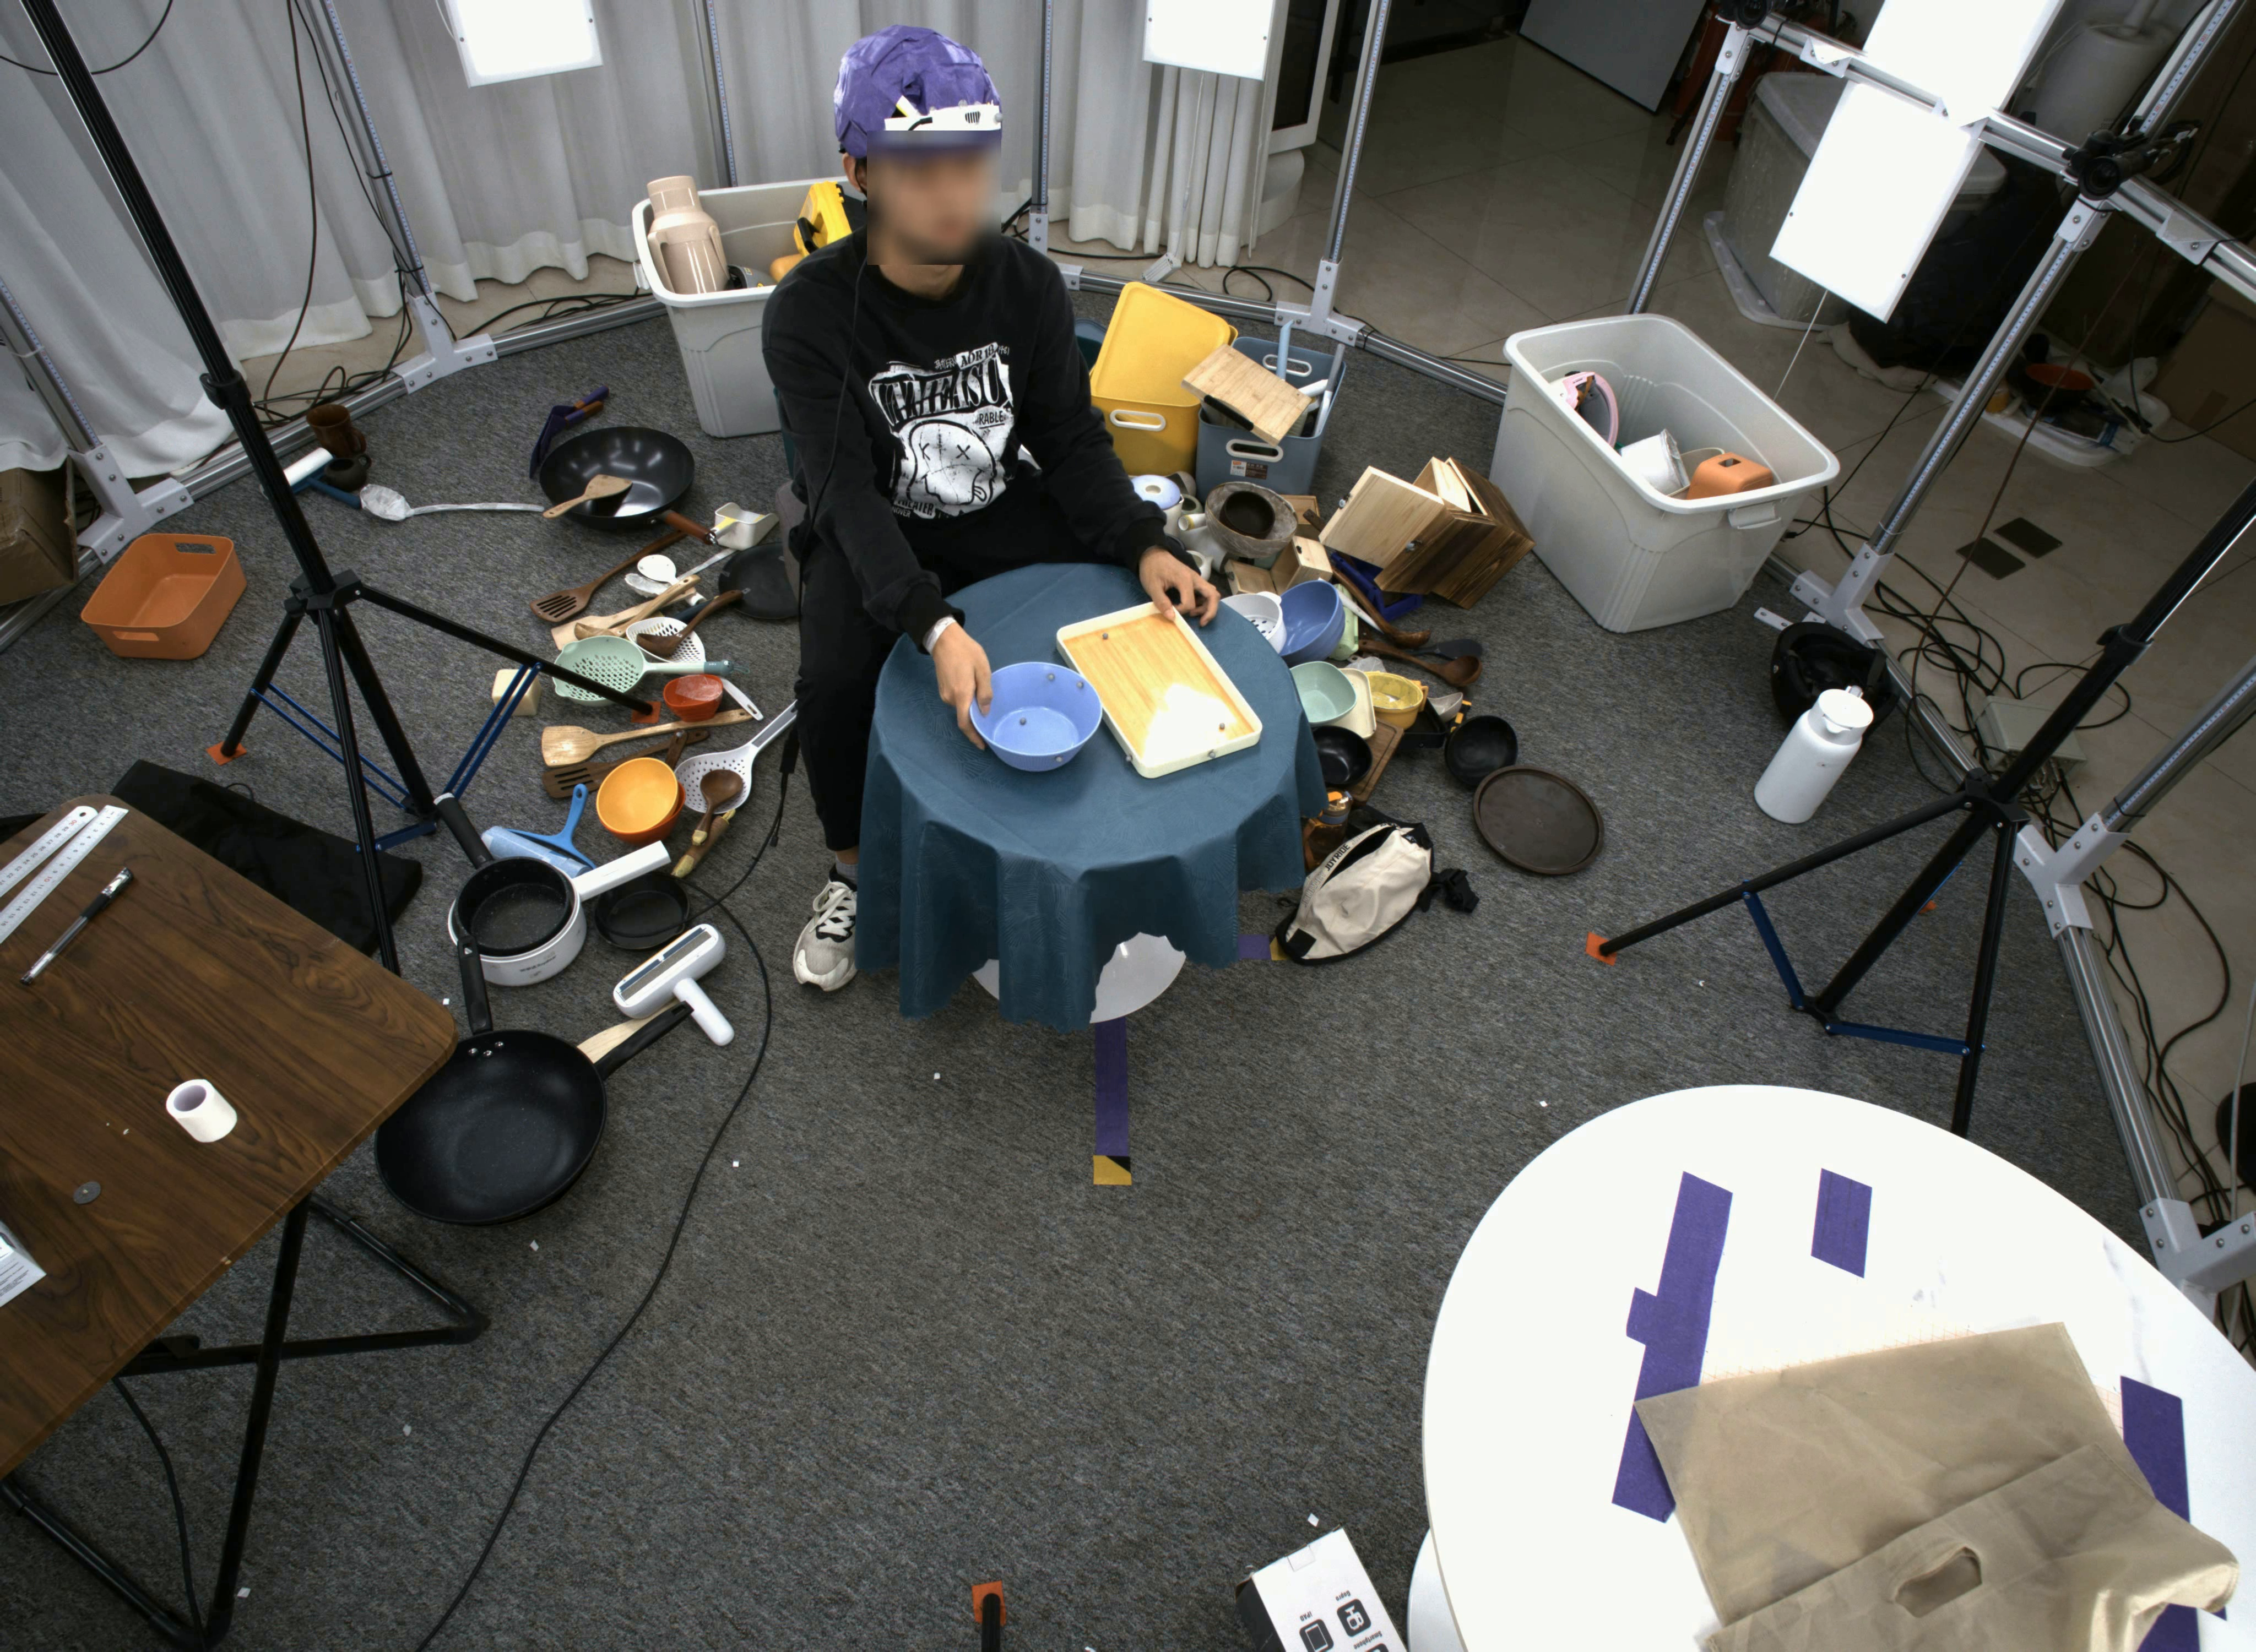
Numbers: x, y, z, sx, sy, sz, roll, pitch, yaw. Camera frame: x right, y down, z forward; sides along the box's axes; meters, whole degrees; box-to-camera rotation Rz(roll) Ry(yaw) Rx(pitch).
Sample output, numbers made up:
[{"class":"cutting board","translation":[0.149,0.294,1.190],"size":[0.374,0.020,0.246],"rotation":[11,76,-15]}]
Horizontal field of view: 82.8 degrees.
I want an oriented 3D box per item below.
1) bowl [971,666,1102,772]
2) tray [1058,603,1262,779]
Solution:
[{"class":"bowl","translation":[-0.125,-0.137,1.749],"size":[0.176,0.068,0.180],"rotation":[2,48,-3]},{"class":"tray","translation":[0.042,-0.201,1.845],"size":[0.192,0.027,0.307],"rotation":[-18,53,-19]}]
